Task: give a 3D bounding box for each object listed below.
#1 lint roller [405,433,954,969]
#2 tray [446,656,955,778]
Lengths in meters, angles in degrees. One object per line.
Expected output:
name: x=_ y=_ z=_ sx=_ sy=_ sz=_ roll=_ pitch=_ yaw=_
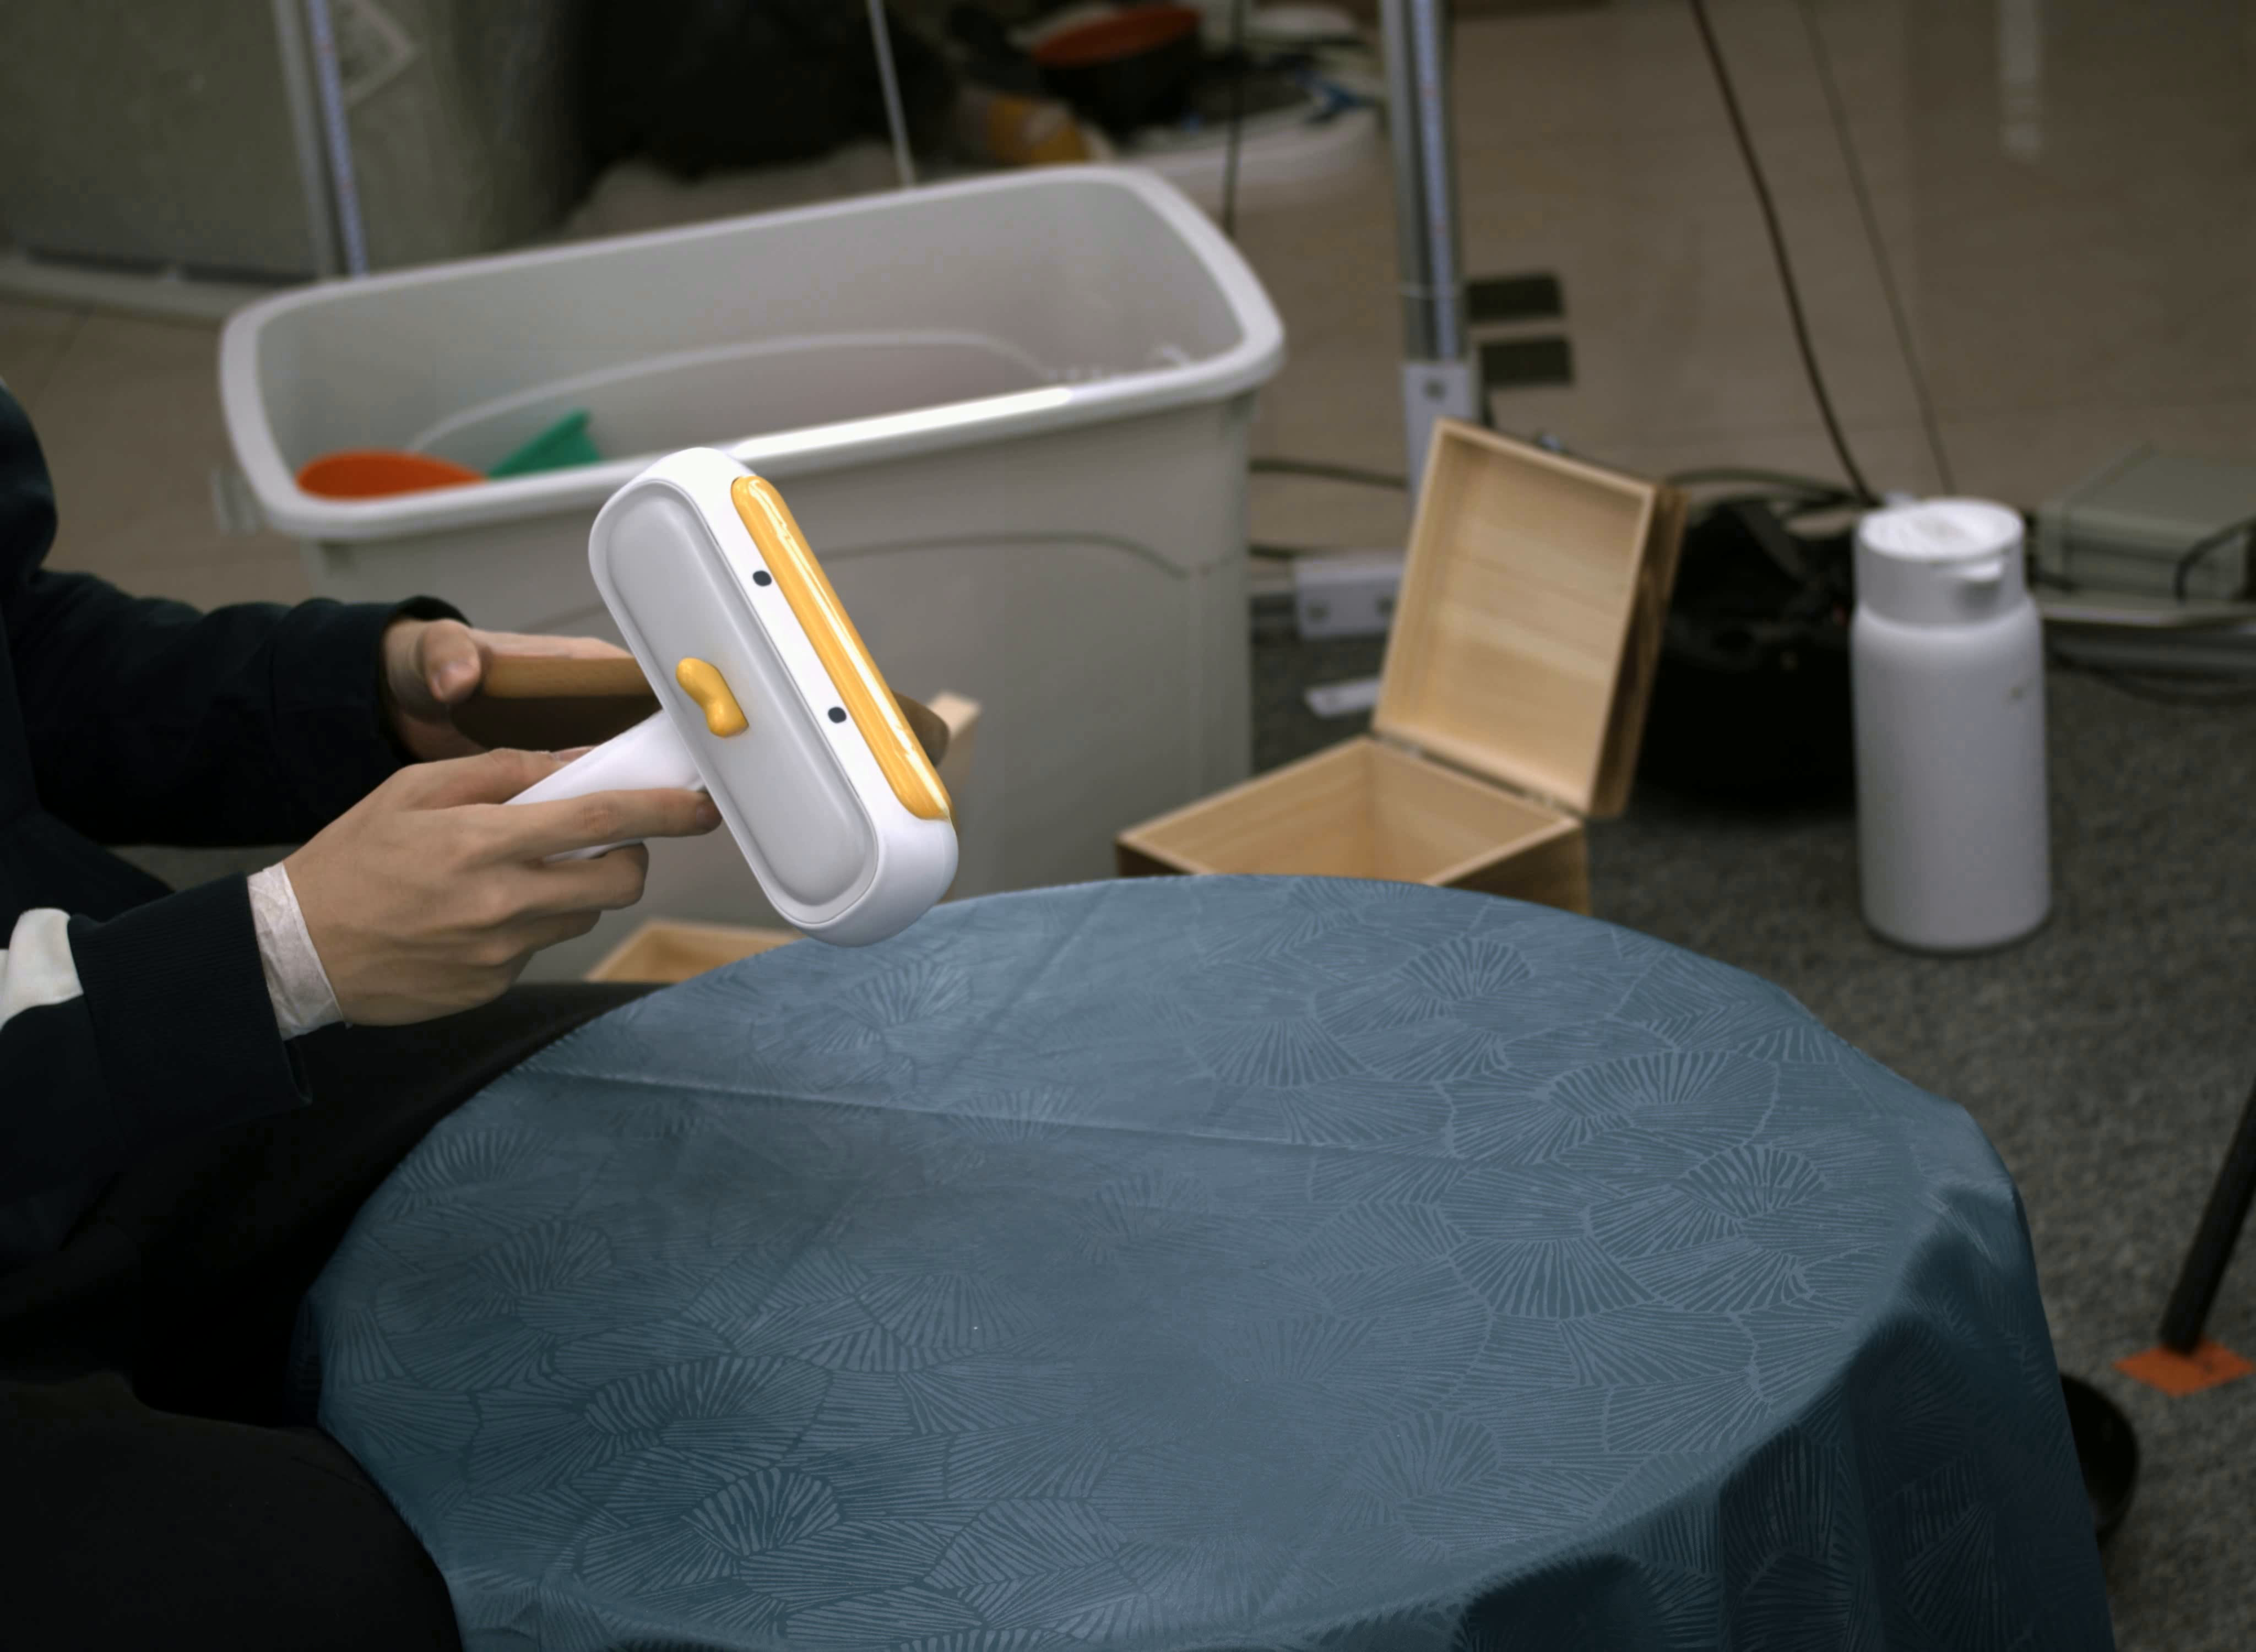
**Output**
lint roller: x=-0.177 y=-0.018 z=2.037 sx=0.194 sy=0.192 sz=0.074 roll=-38 pitch=-9 yaw=22
tray: x=-0.165 y=-0.039 z=2.148 sx=0.230 sy=0.020 sz=0.102 roll=1 pitch=-19 yaw=40
